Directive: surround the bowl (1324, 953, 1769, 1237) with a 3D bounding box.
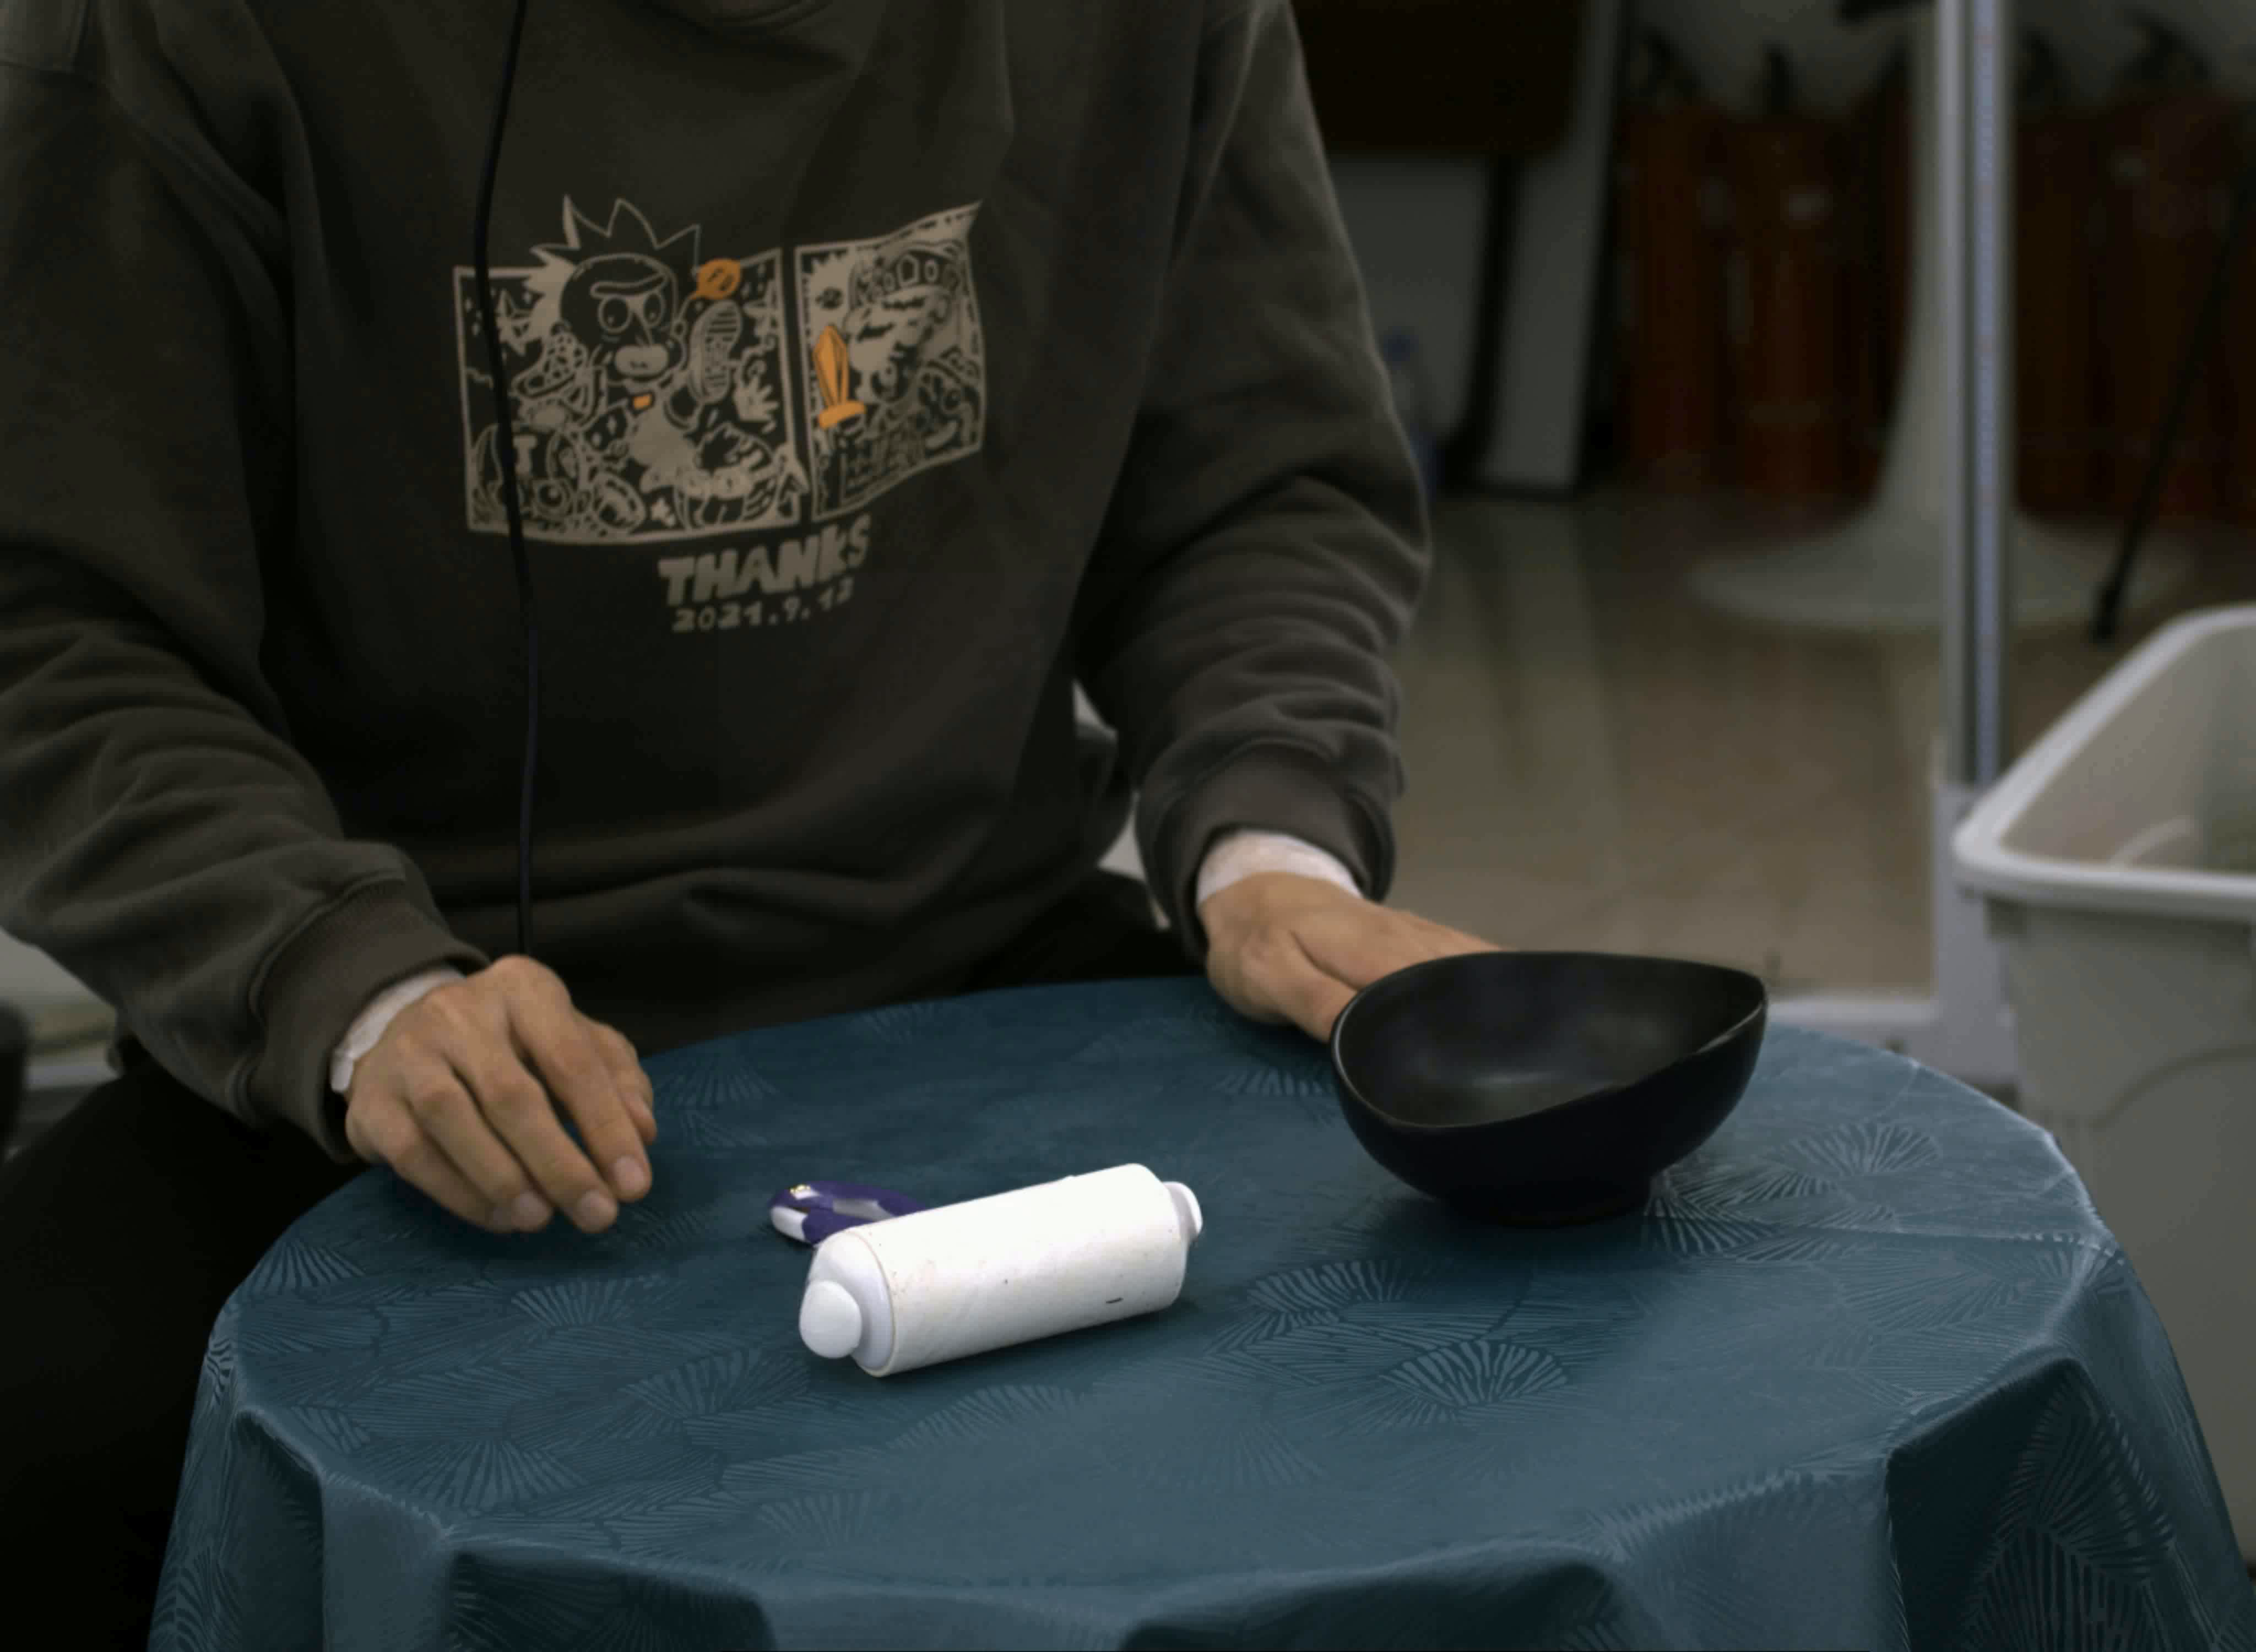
[{"bbox_3d":[0.136,0.091,1.730,0.138,0.067,0.168,3,16,31],"label":"bowl"}]

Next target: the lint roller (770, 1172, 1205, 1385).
[{"bbox_3d":[-0.066,0.122,1.690,0.130,0.051,0.183,-11,18,-24],"label":"lint roller"}]
